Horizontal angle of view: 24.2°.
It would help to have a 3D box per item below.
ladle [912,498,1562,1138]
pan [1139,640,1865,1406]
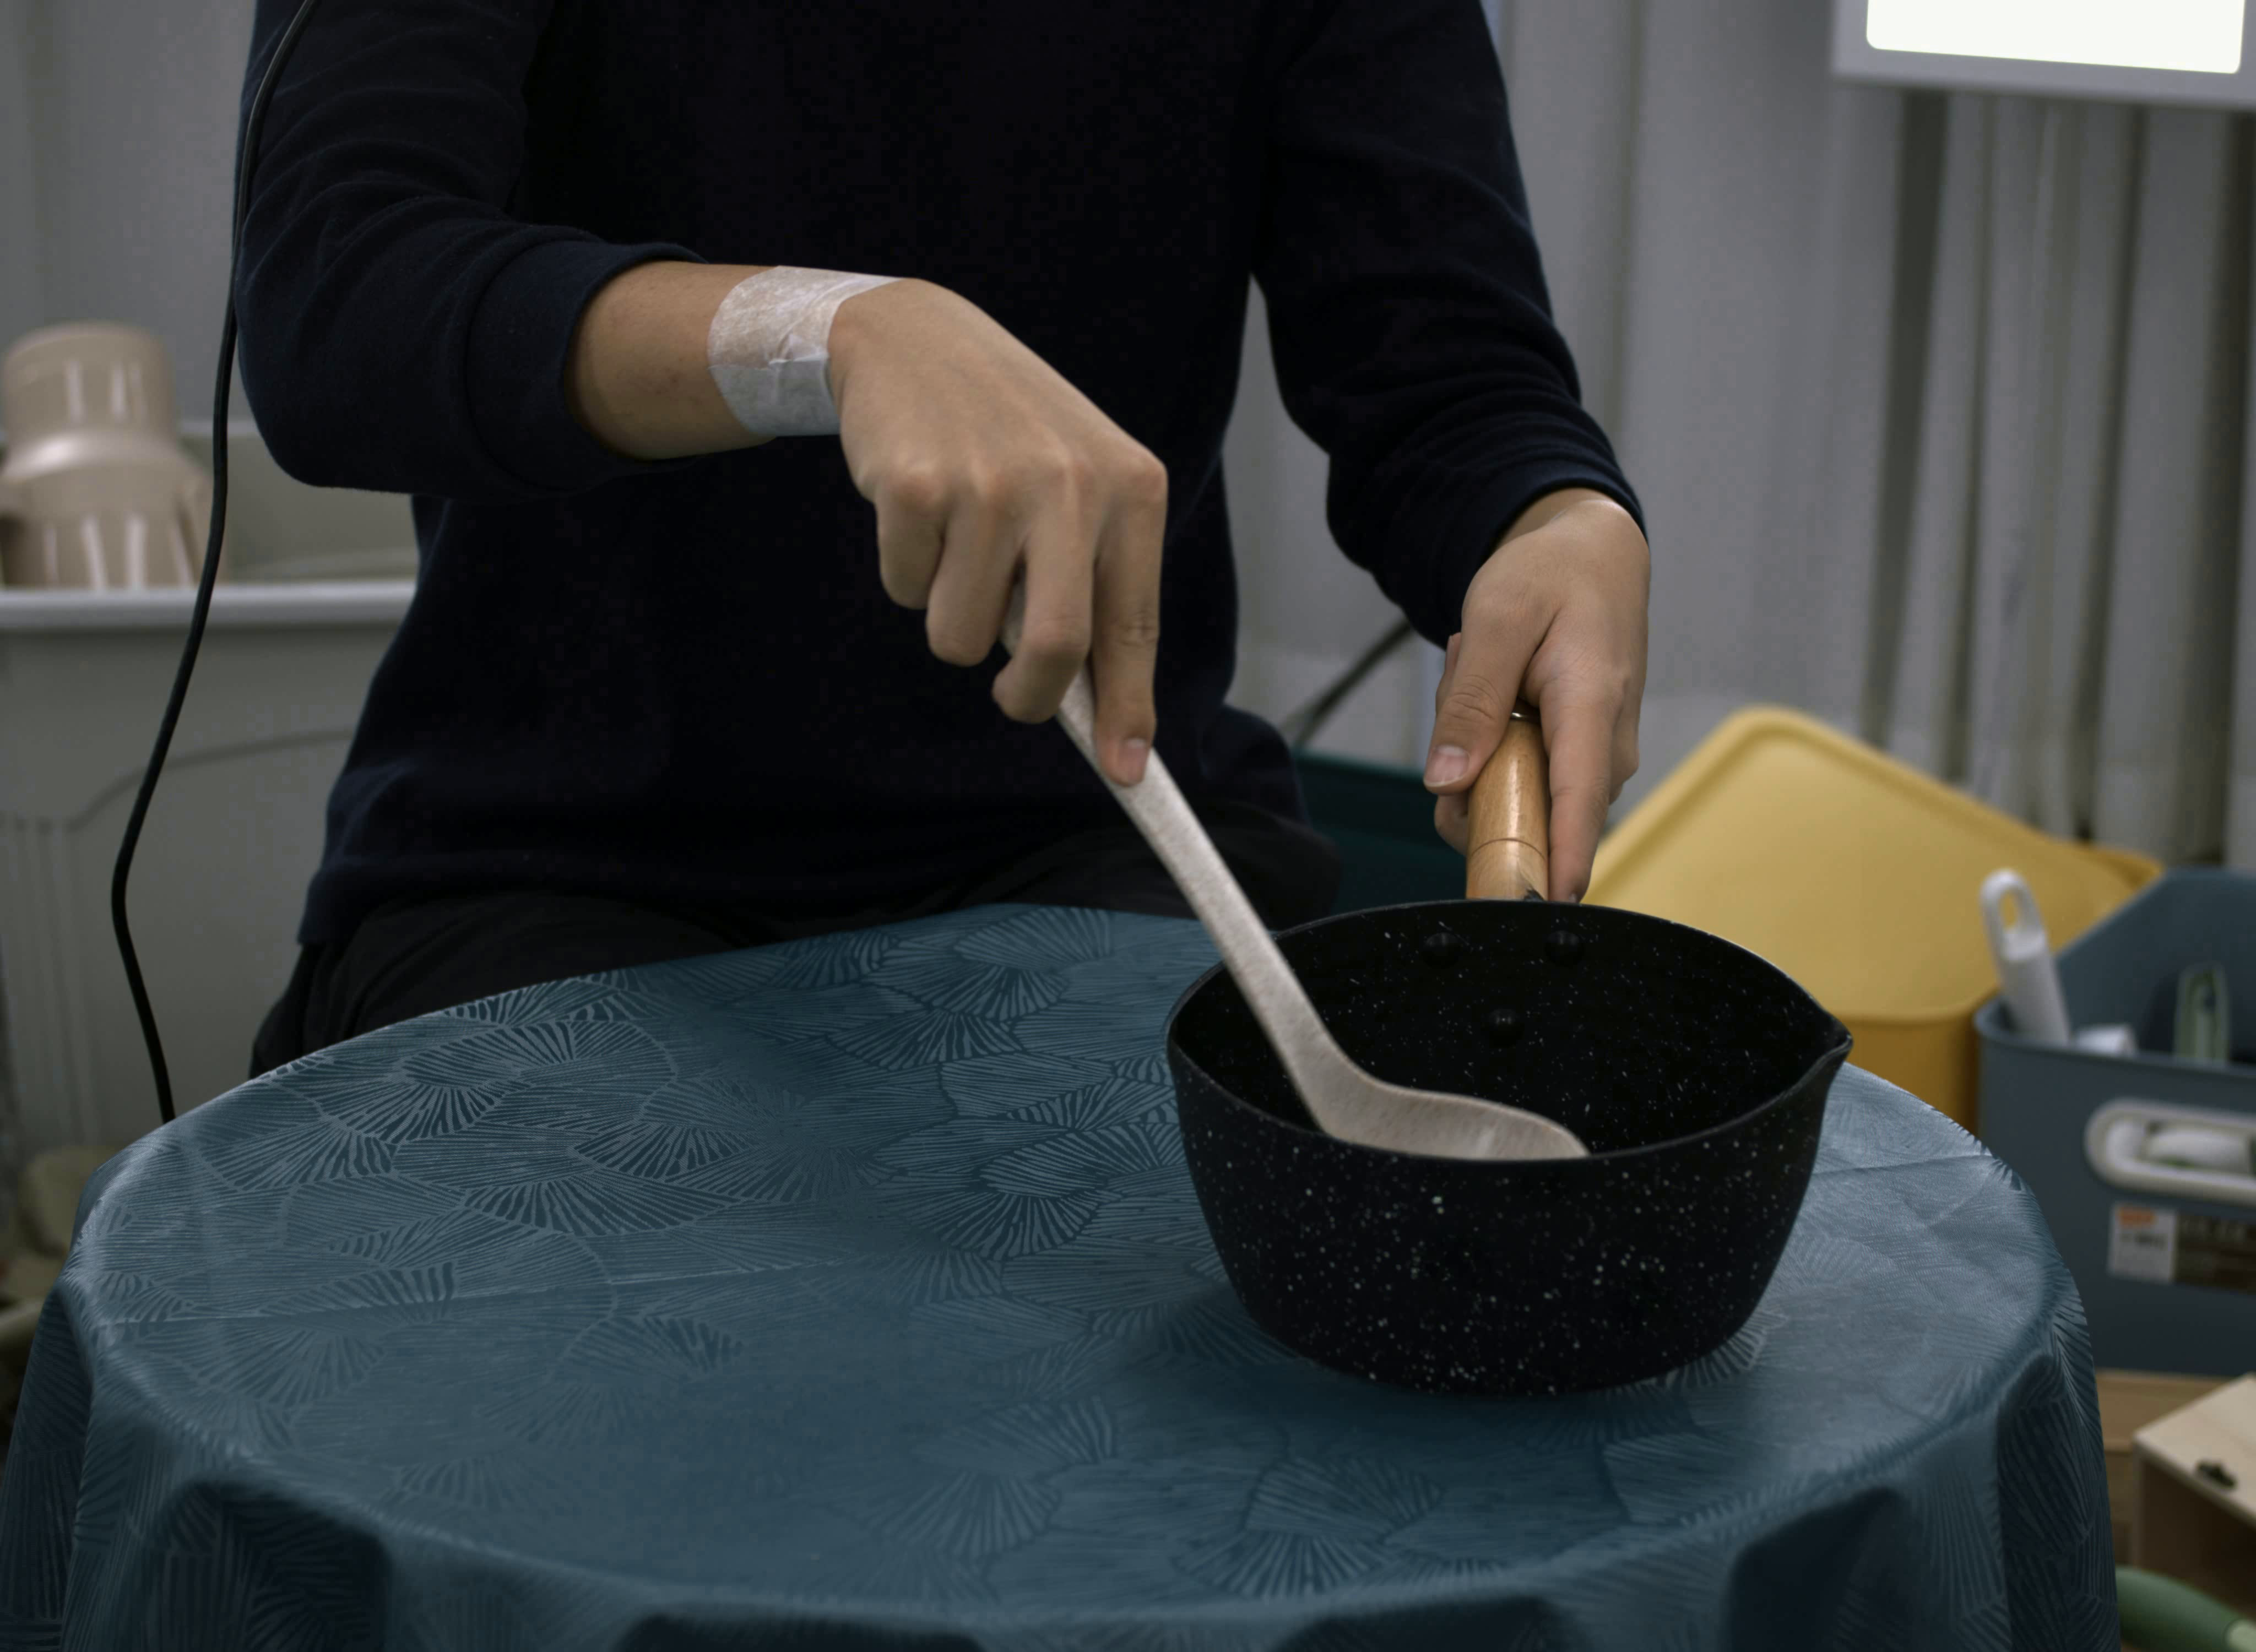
[{"bbox_3d":[0.034,0.012,1.500,0.069,0.276,0.089,-26,8,44],"label":"ladle"},{"bbox_3d":[0.110,0.053,1.578,0.206,0.109,0.340,0,23,3],"label":"pan"}]
